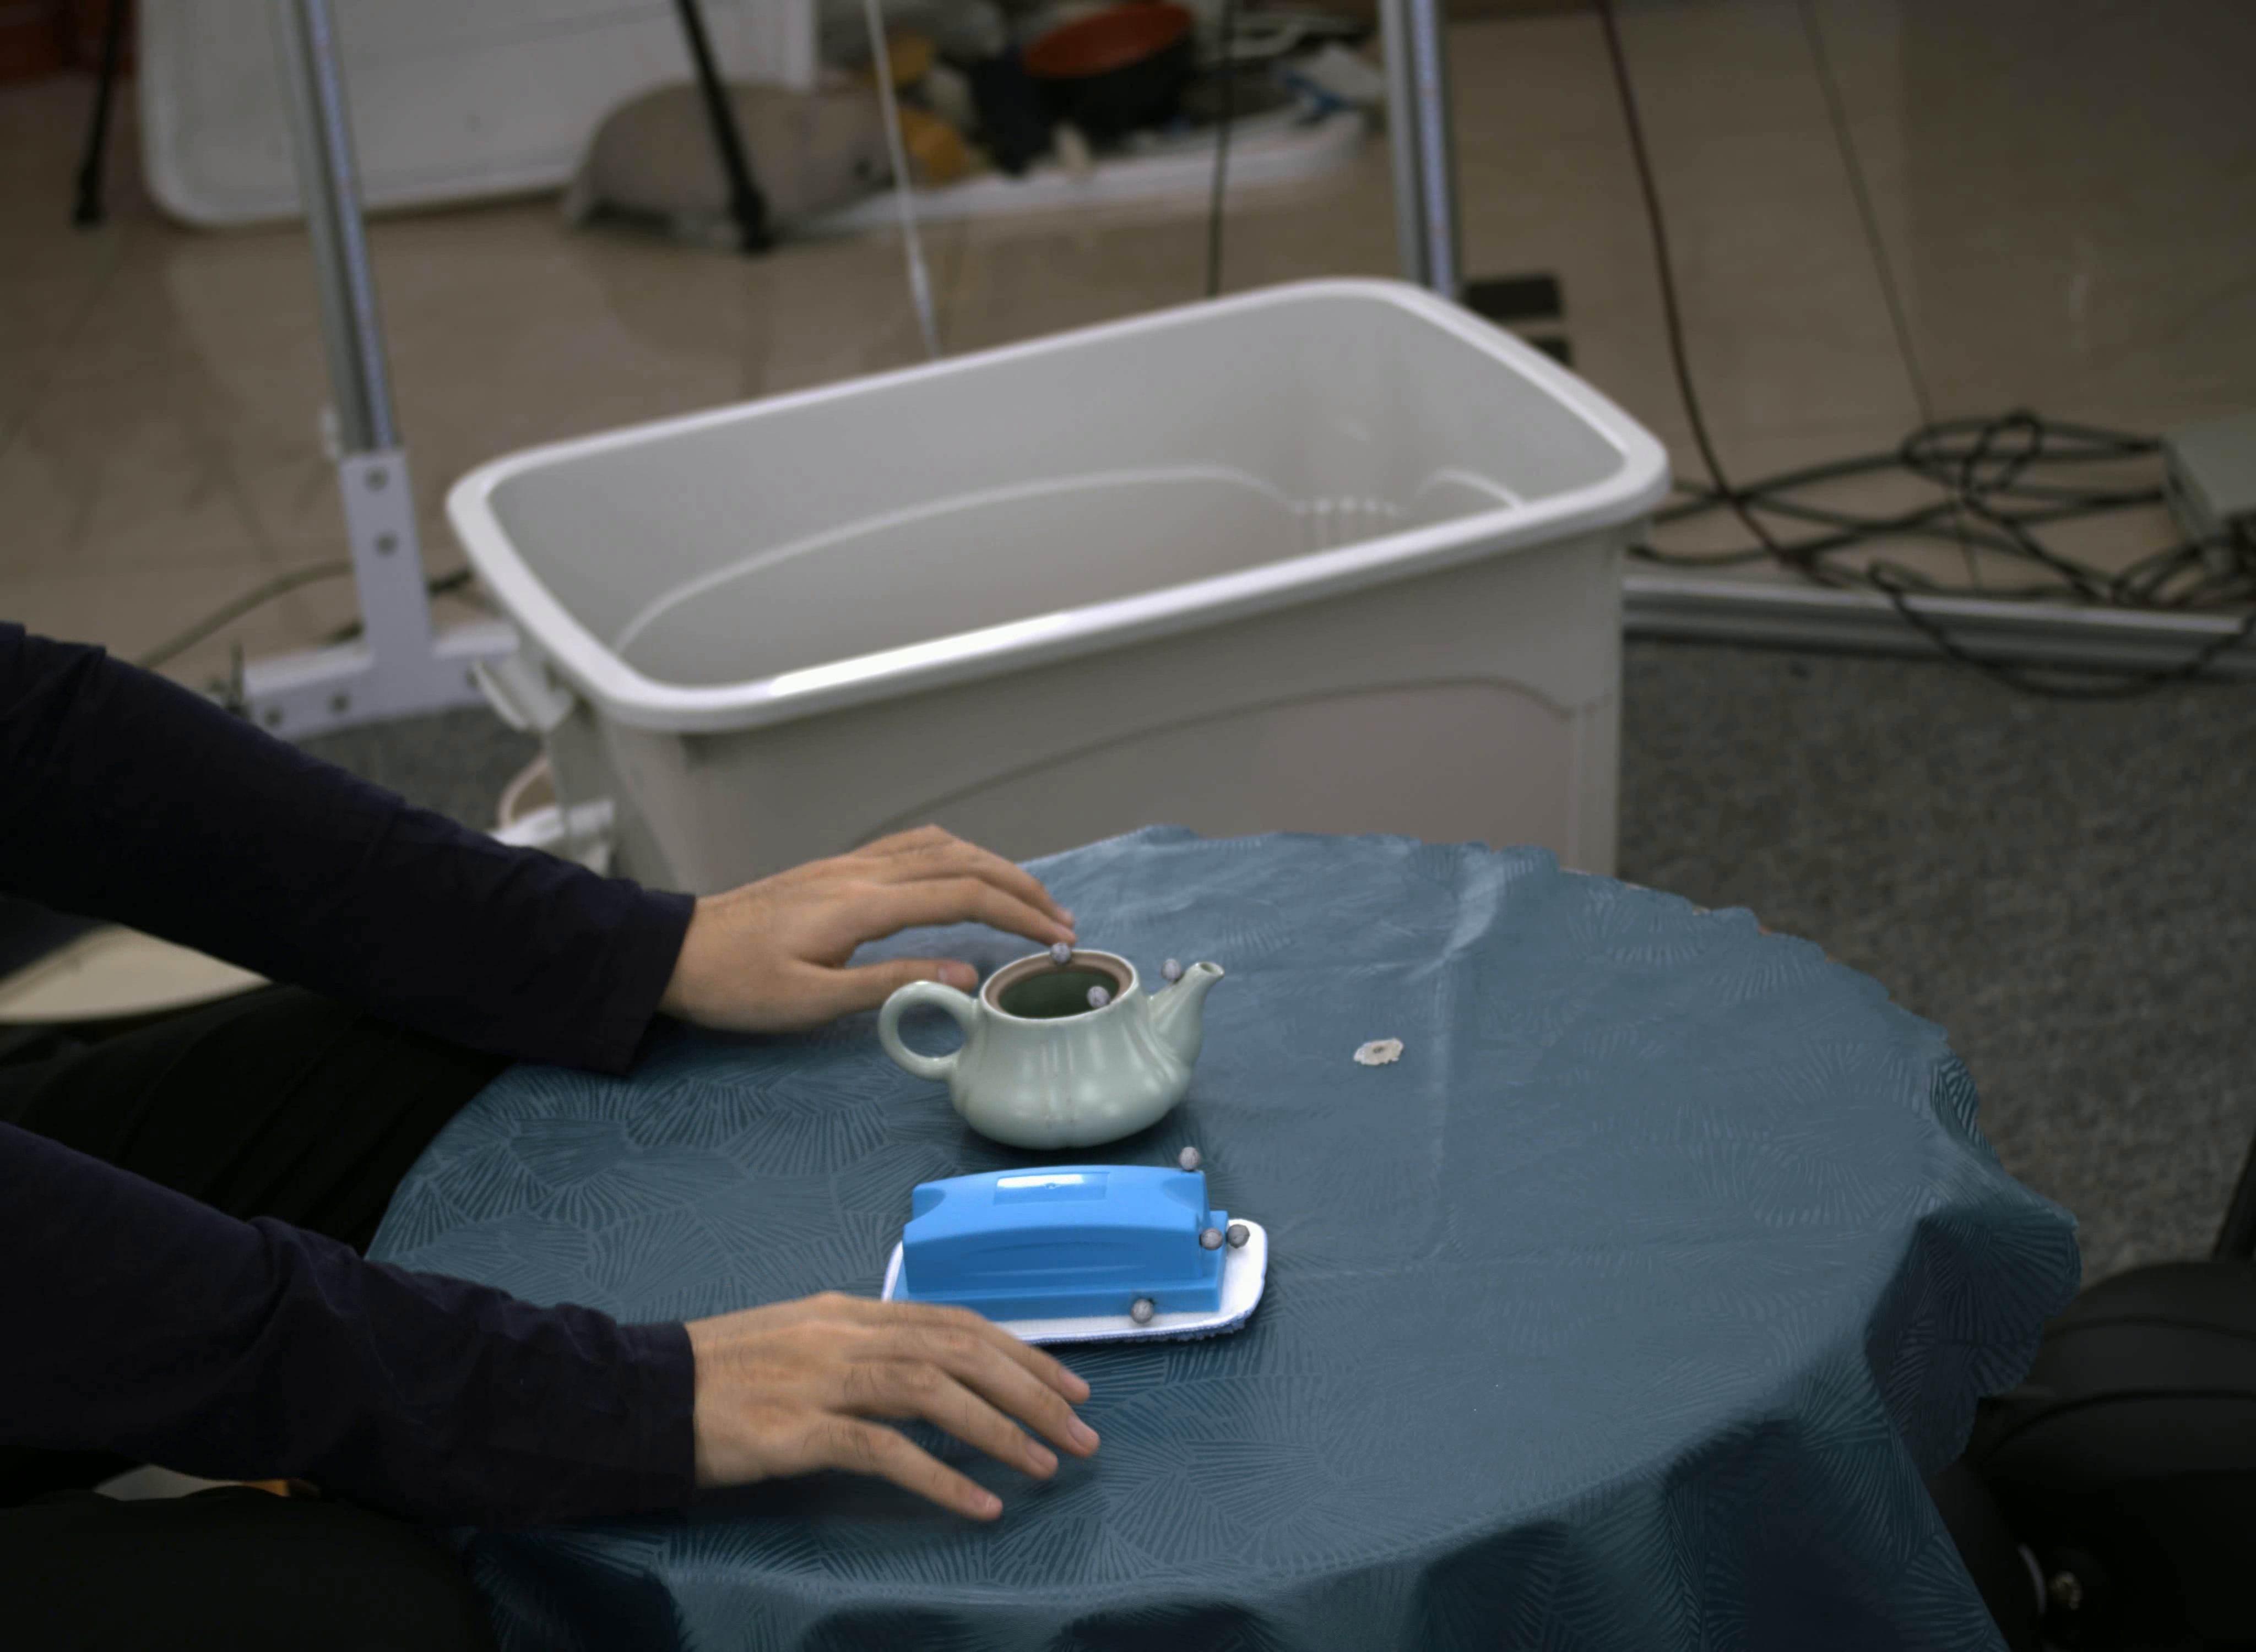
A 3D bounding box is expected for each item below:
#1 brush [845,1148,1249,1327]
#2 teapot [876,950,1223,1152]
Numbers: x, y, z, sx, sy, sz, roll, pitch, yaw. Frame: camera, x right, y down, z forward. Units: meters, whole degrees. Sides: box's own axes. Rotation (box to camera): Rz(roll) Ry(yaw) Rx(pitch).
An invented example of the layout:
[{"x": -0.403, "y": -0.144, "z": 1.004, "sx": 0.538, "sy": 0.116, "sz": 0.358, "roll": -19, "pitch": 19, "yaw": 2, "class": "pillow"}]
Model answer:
[{"x": -0.030, "y": 0.148, "z": 2.062, "sx": 0.143, "sy": 0.057, "sz": 0.083, "roll": 0, "pitch": 23, "yaw": 8, "class": "brush"}, {"x": -0.029, "y": 0.086, "z": 2.197, "sx": 0.137, "sy": 0.062, "sz": 0.095, "roll": -5, "pitch": 26, "yaw": 3, "class": "teapot"}]
